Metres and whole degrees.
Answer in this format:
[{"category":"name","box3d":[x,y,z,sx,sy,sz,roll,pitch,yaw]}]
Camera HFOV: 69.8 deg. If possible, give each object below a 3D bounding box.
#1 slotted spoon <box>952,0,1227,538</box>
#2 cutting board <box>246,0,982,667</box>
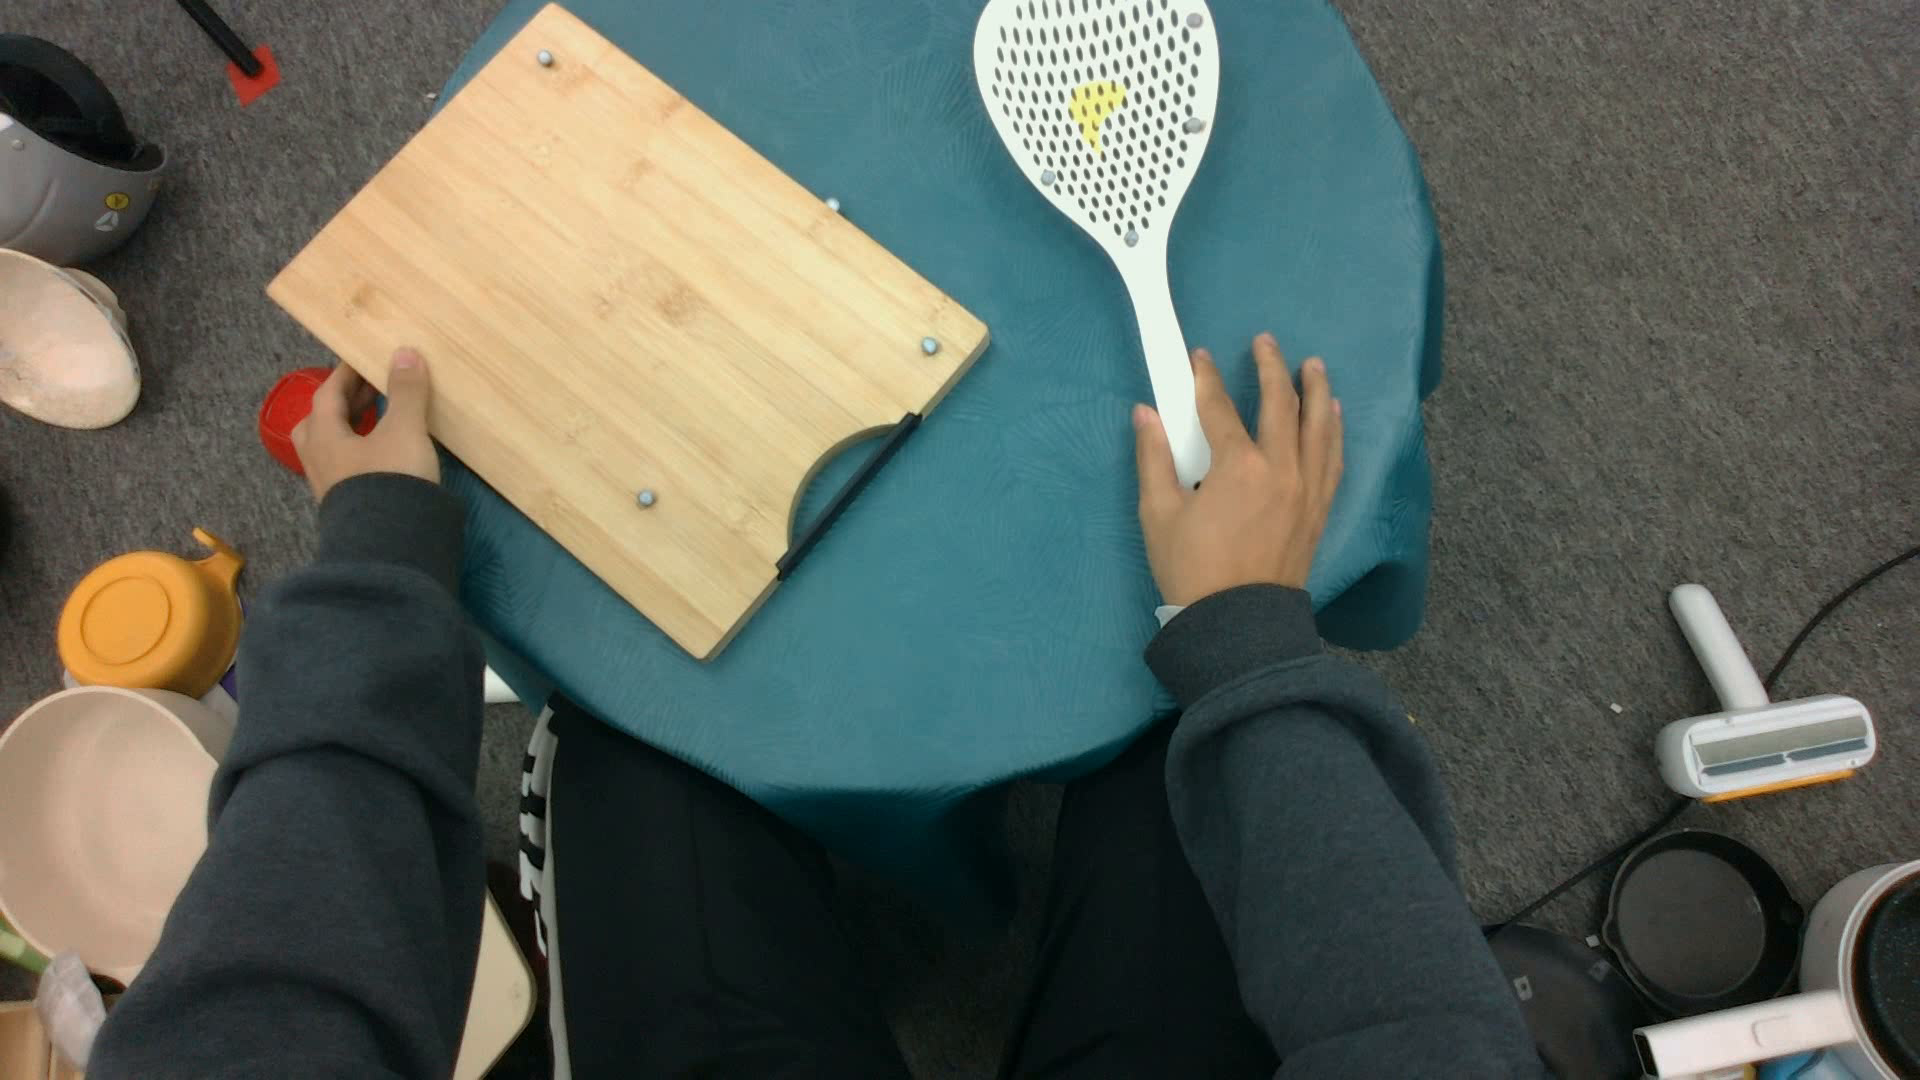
[{"category":"slotted spoon","box3d":[0.089,-0.170,0.757,0.137,0.050,0.348,-13,75,-2]},{"category":"cutting board","box3d":[-0.195,-0.131,0.773,0.349,0.023,0.251,37,81,11]}]
